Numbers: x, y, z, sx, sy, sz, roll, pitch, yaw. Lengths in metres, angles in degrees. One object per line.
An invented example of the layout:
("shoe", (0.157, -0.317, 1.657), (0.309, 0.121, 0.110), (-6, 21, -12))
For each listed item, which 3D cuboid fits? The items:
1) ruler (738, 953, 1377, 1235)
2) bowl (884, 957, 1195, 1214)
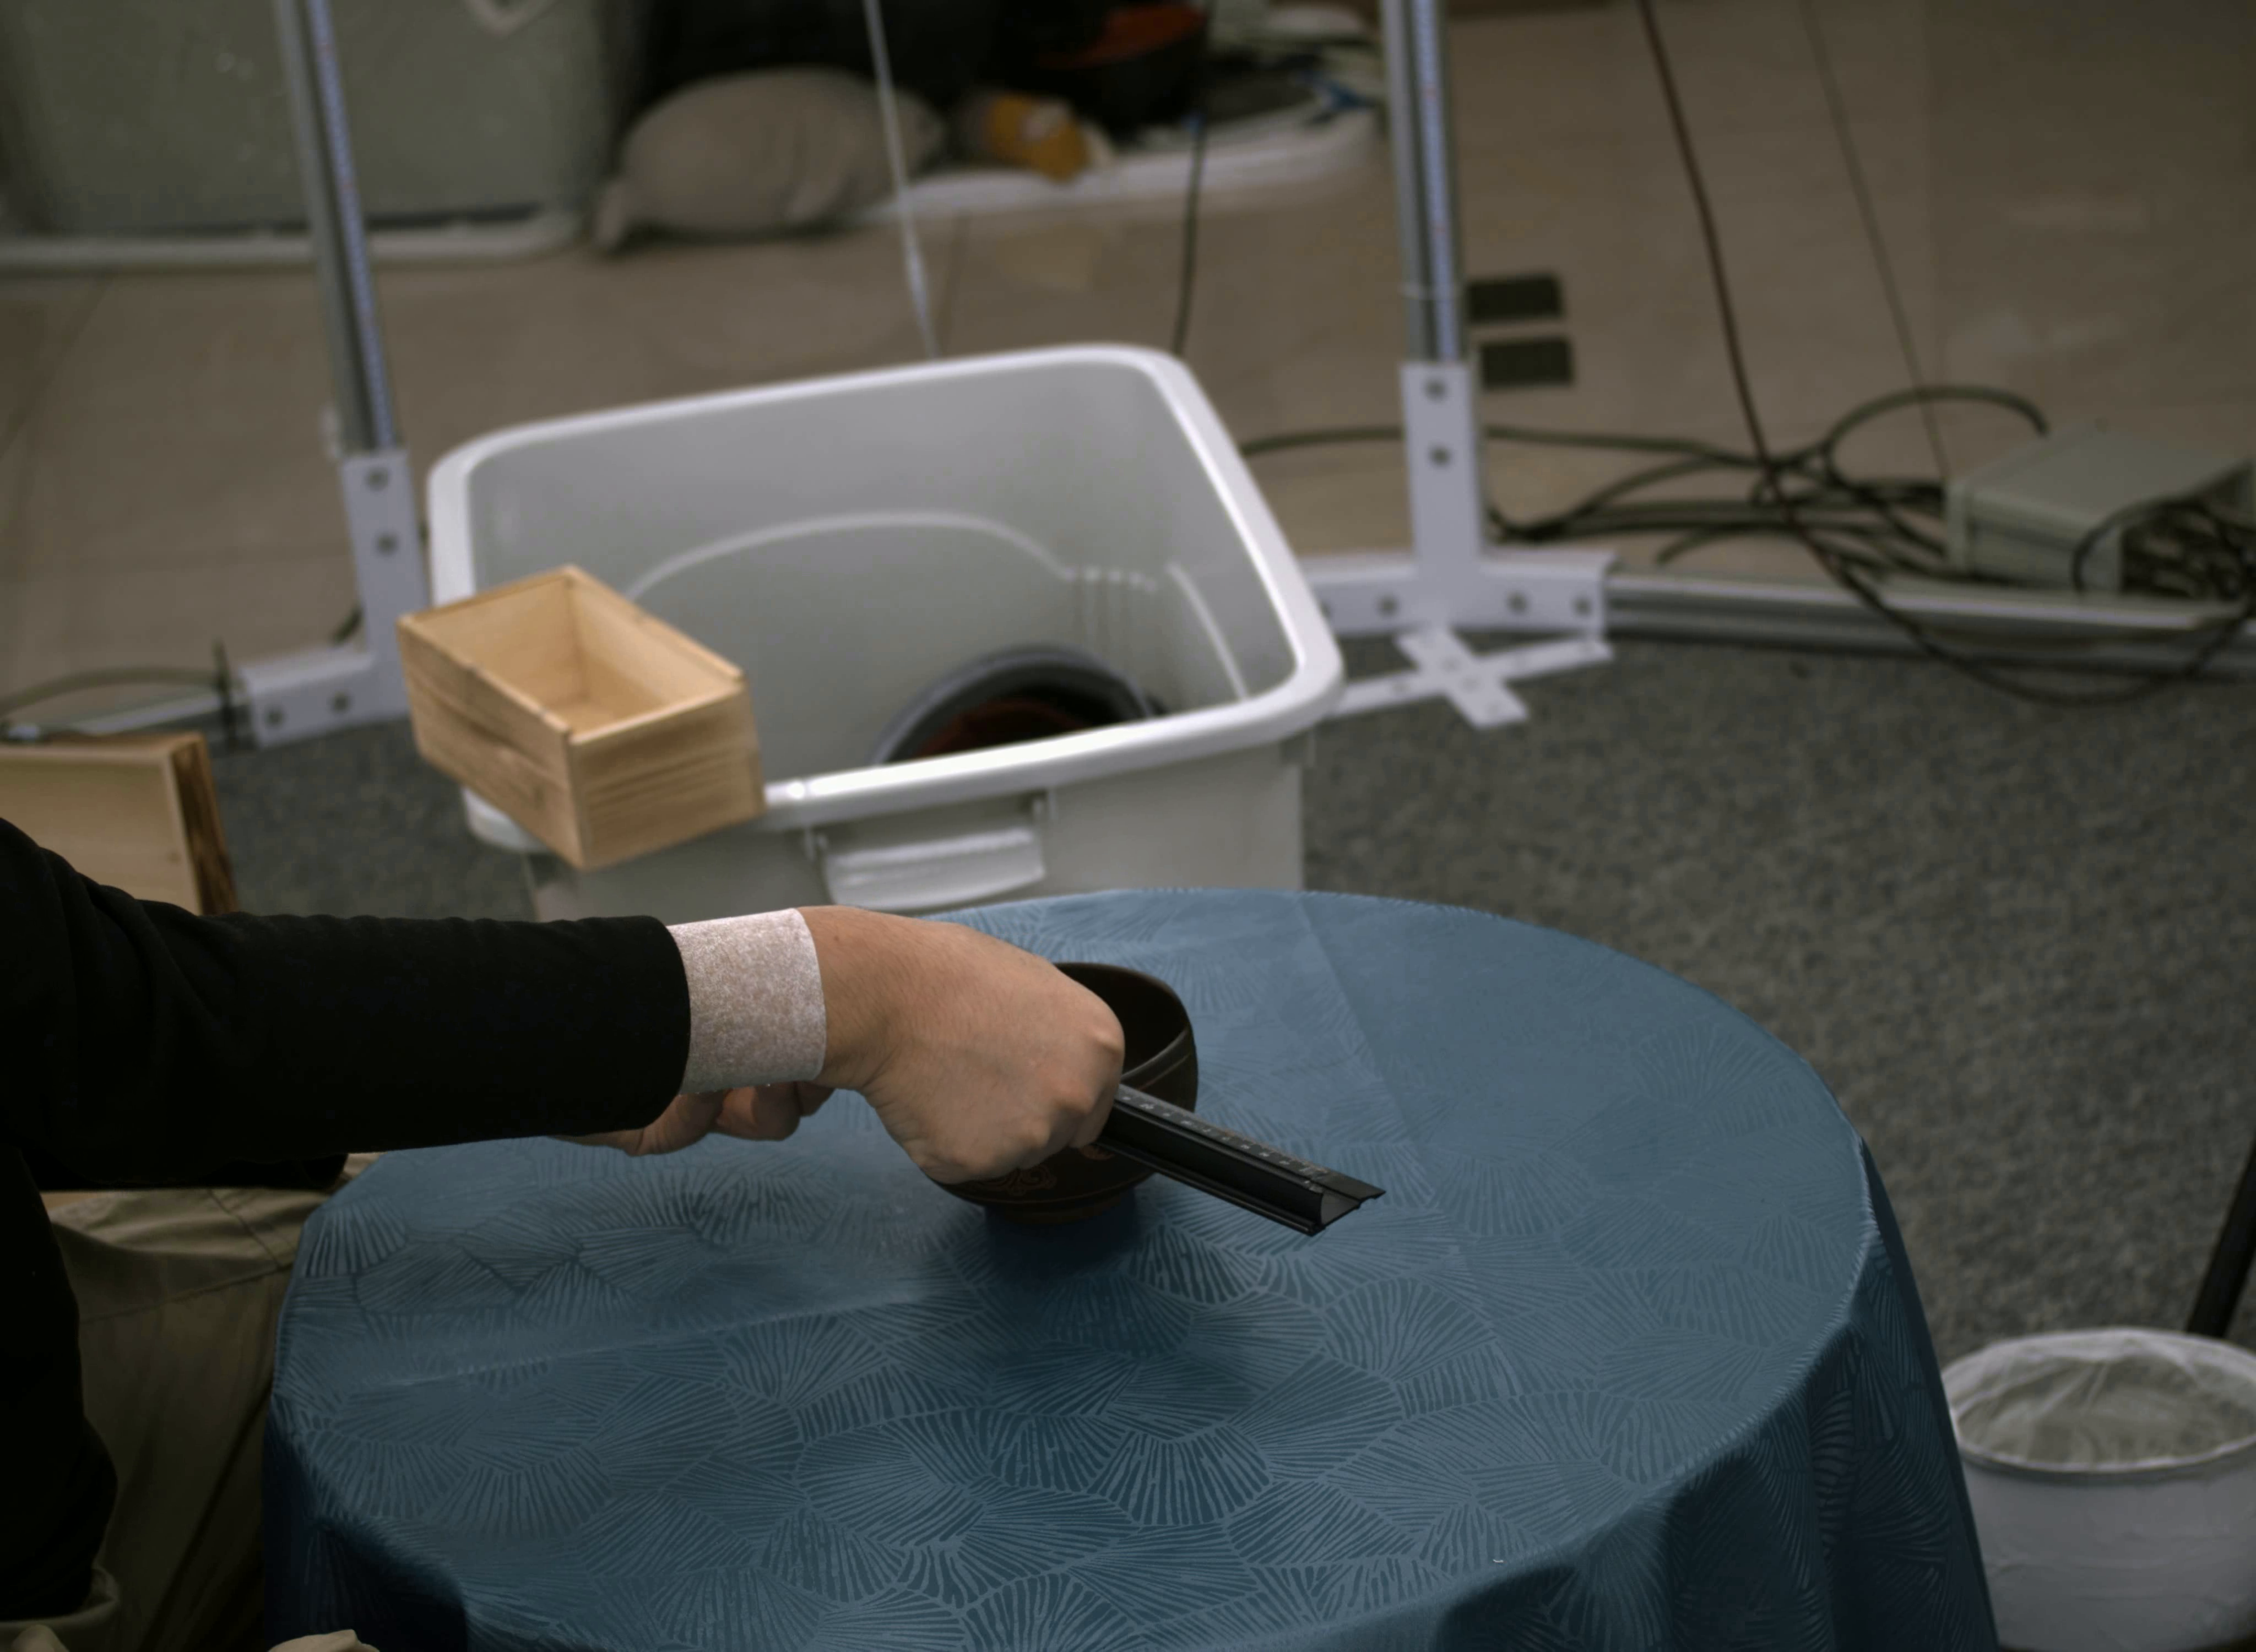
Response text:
("ruler", (-0.031, 0.090, 2.078), (0.039, 0.017, 0.310), (-24, 31, -38))
("bowl", (-0.033, 0.103, 2.138), (0.118, 0.071, 0.116), (-2, 22, 1))
